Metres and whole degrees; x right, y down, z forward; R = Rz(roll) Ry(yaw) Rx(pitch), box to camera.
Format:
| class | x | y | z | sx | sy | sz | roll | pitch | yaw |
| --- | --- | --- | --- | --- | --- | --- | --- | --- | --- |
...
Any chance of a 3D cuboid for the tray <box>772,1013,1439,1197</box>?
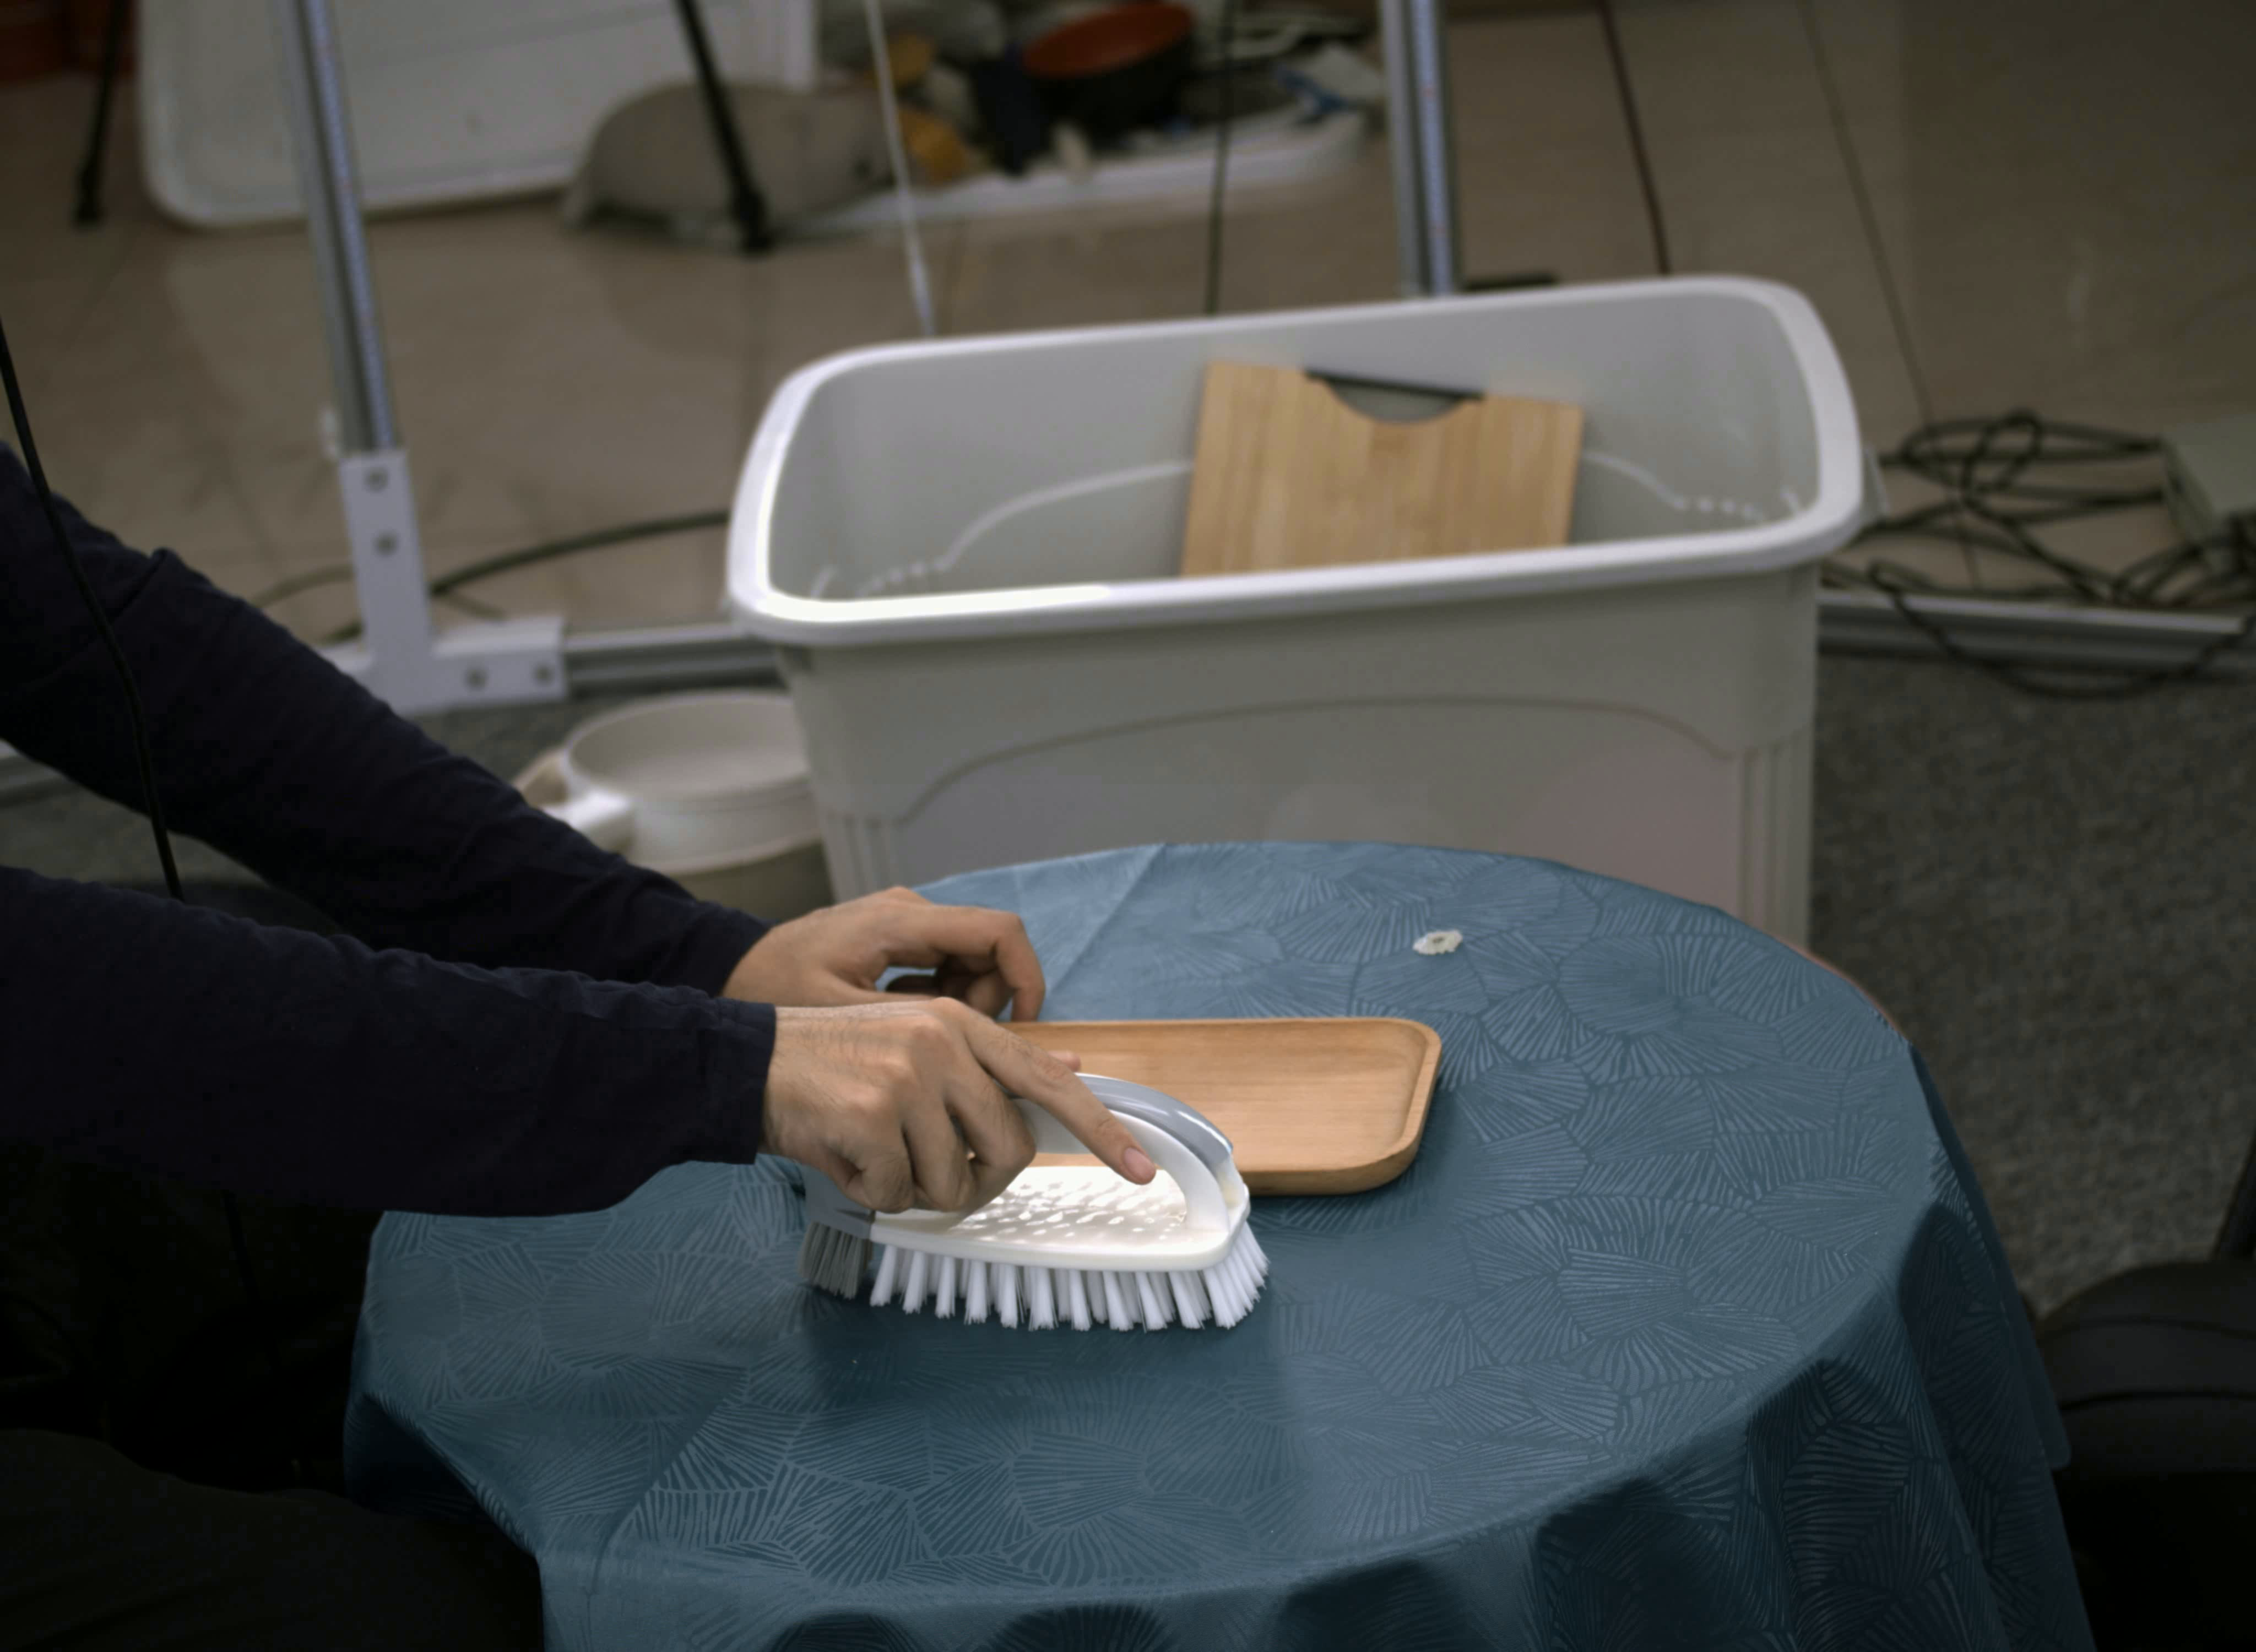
| class | x | y | z | sx | sy | sz | roll | pitch | yaw |
| --- | --- | --- | --- | --- | --- | --- | --- | --- | --- |
| tray | -0.008 | 0.109 | 2.195 | 0.250 | 0.023 | 0.129 | -2 | 23 | 13 |

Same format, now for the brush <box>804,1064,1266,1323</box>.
| class | x | y | z | sx | sy | sz | roll | pitch | yaw |
| --- | --- | --- | --- | --- | --- | --- | --- | --- | --- |
| brush | -0.041 | 0.132 | 2.063 | 0.175 | 0.096 | 0.060 | -1 | 26 | 18 |
